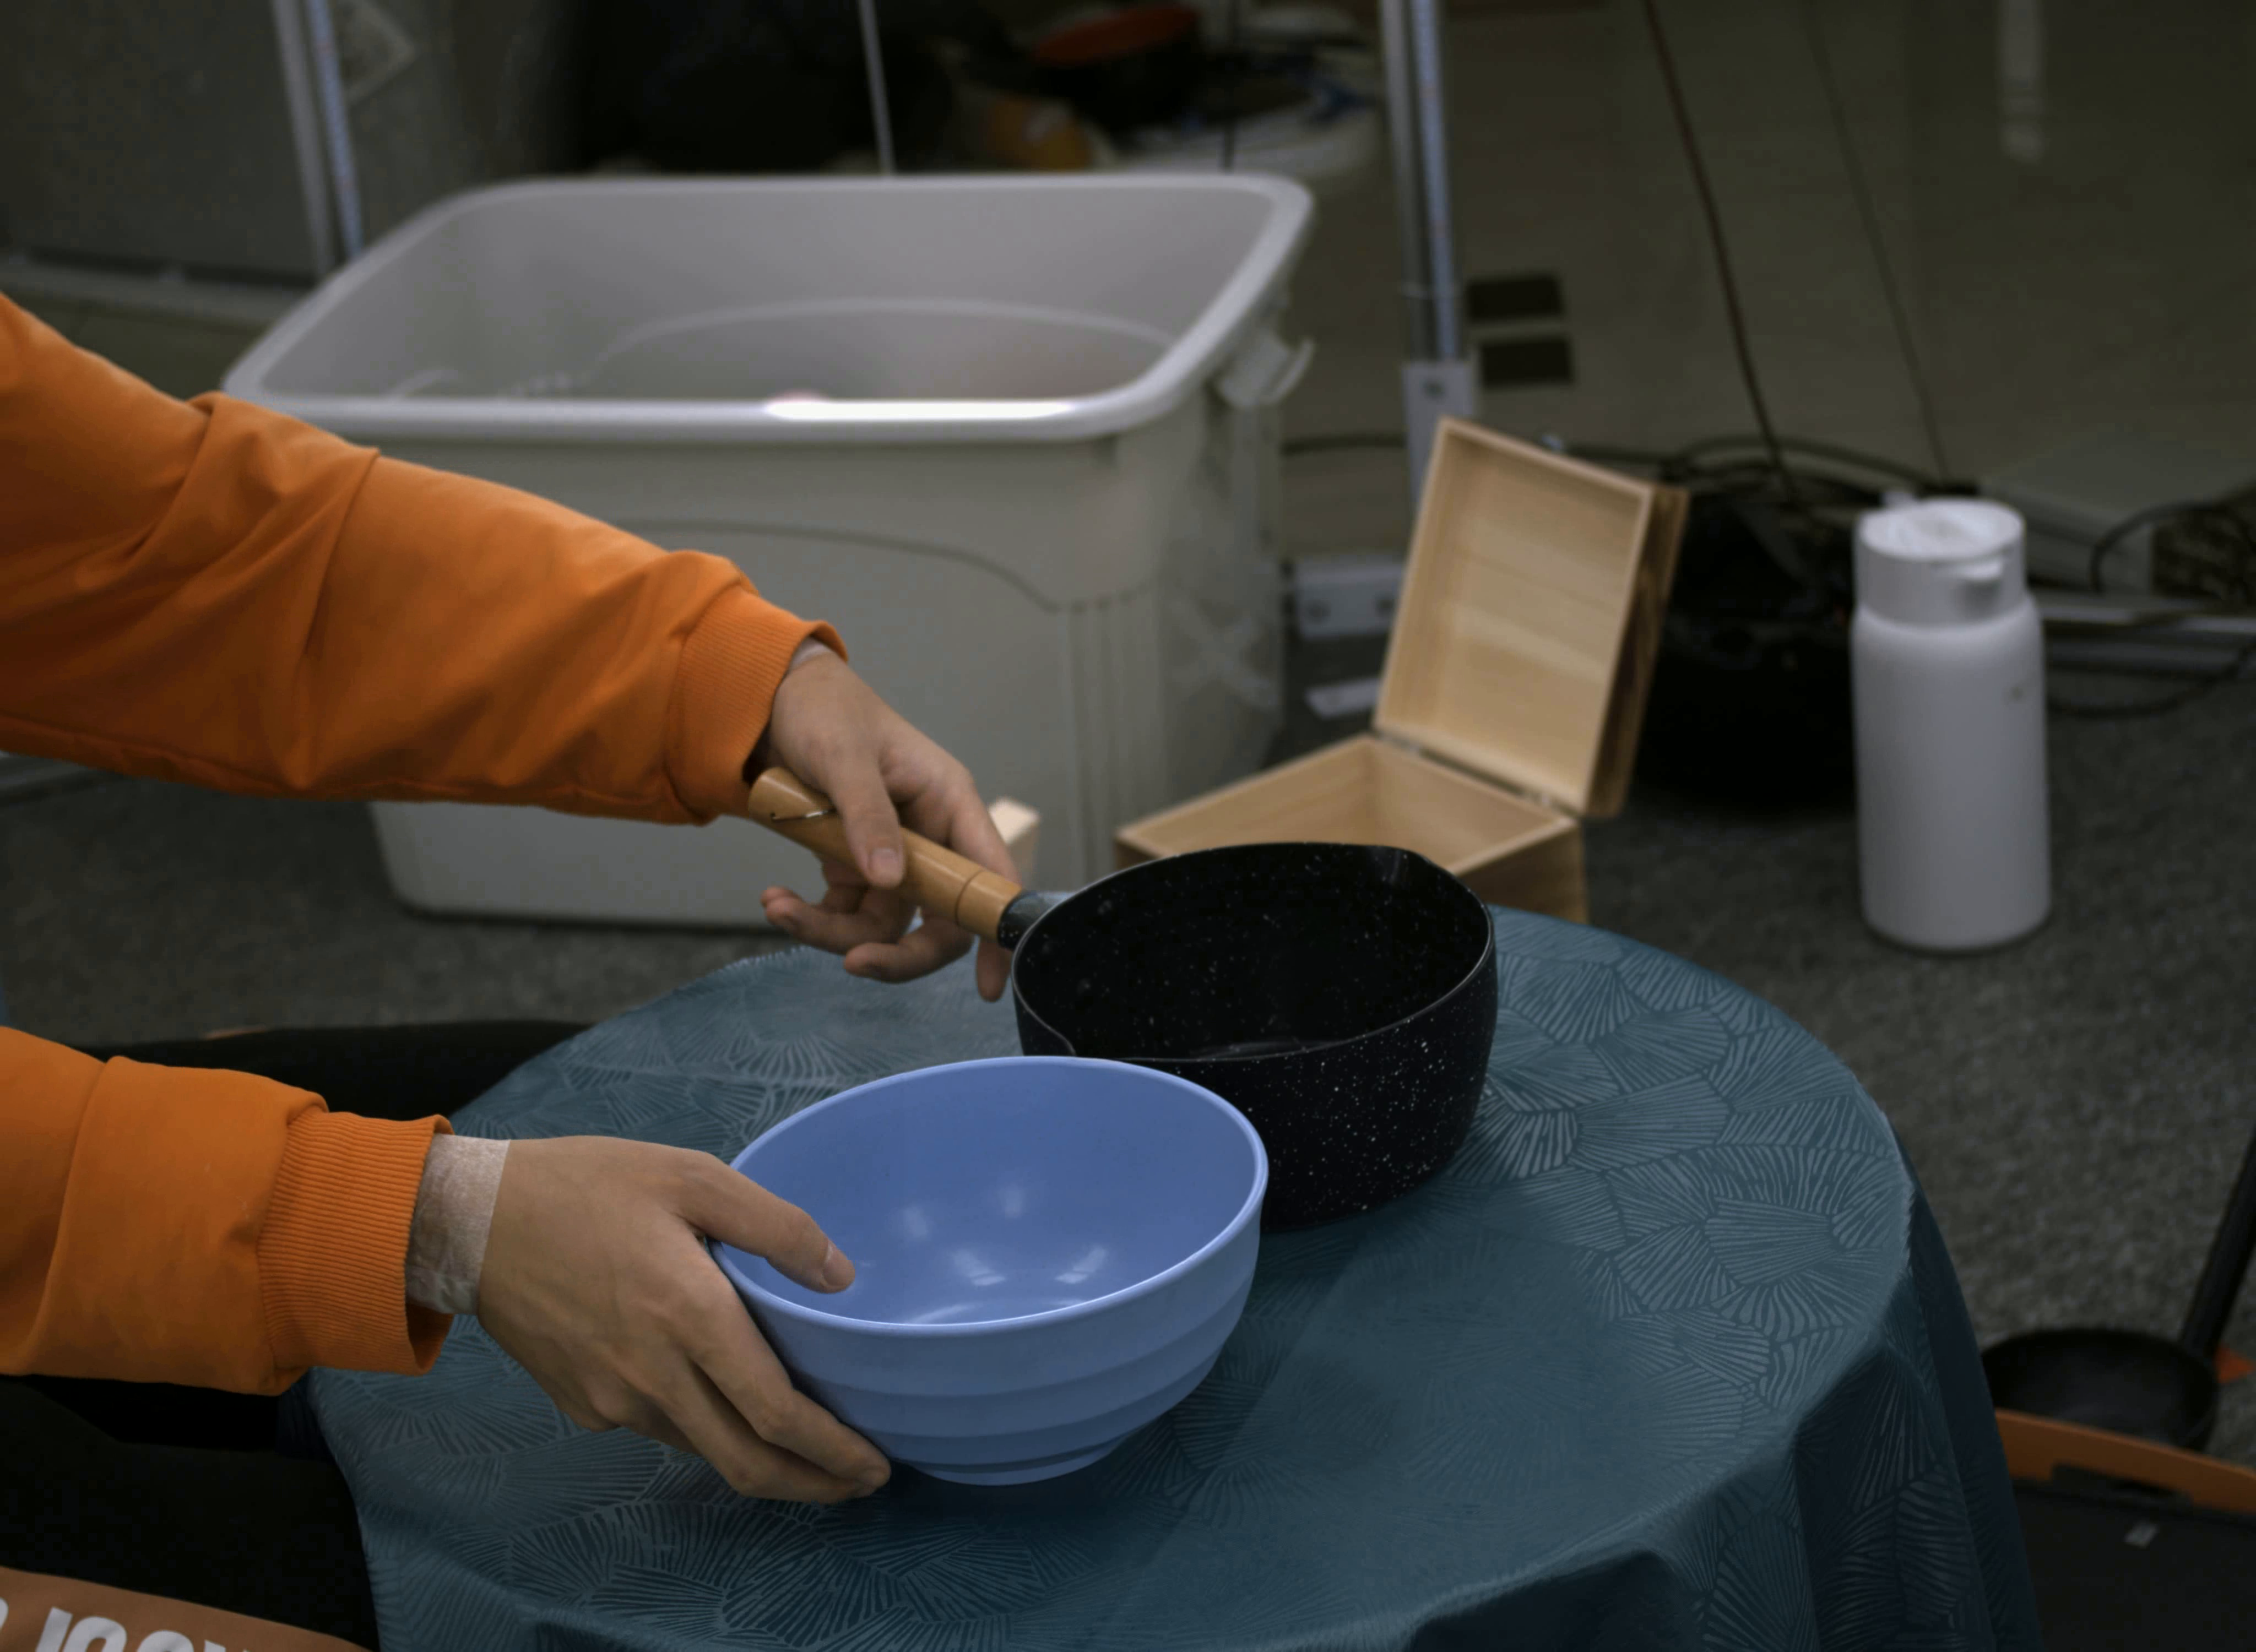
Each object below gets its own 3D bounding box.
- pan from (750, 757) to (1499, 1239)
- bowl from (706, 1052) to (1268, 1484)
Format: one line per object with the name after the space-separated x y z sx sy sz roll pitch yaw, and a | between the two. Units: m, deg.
-0.013 0.057 2.195 0.340 0.110 0.205 15 34 35 | pan
-0.045 0.166 1.985 0.196 0.097 0.193 -5 26 3 | bowl
